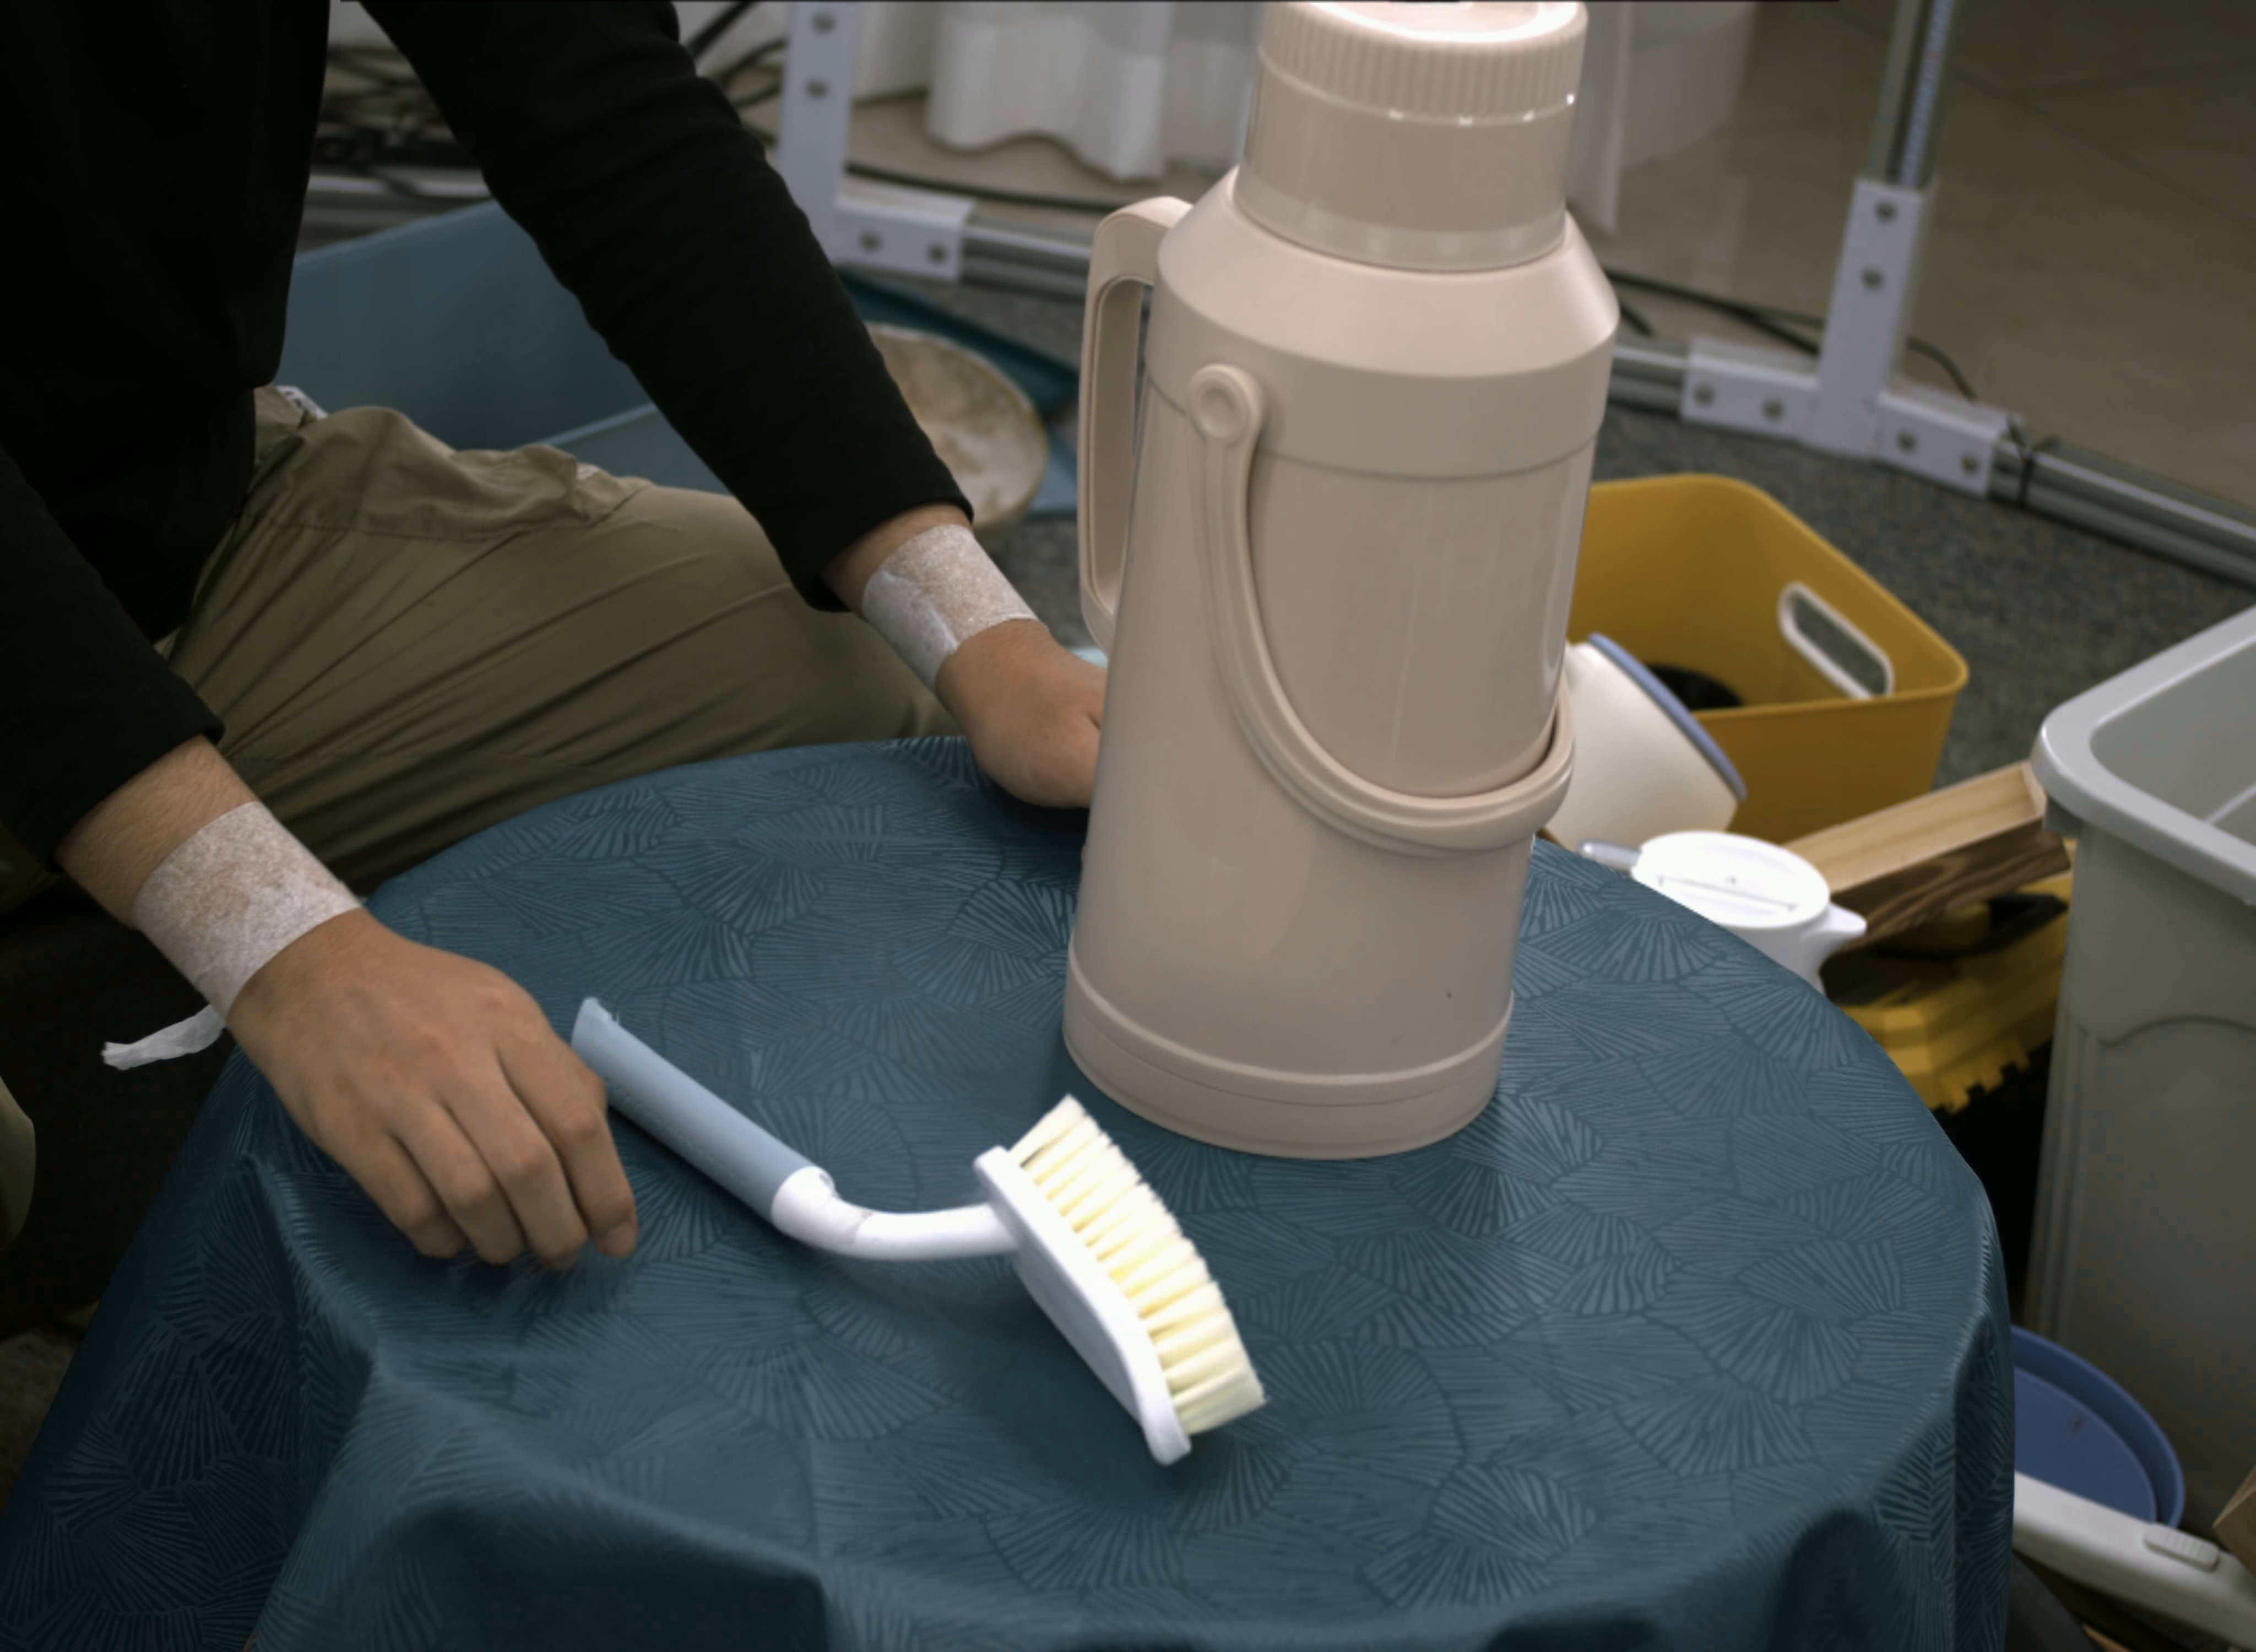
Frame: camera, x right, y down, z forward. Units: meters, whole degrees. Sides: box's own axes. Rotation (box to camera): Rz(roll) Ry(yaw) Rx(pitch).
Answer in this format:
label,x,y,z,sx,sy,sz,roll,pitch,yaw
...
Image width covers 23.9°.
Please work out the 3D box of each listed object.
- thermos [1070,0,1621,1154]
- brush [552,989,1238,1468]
label,x,y,z,sx,sy,sz,roll,pitch,yaw
thermos,0.067,-0.103,1.825,0.208,0.405,0.174,25,33,32
brush,-0.069,0.106,1.742,0.084,0.083,0.328,-2,24,-43
